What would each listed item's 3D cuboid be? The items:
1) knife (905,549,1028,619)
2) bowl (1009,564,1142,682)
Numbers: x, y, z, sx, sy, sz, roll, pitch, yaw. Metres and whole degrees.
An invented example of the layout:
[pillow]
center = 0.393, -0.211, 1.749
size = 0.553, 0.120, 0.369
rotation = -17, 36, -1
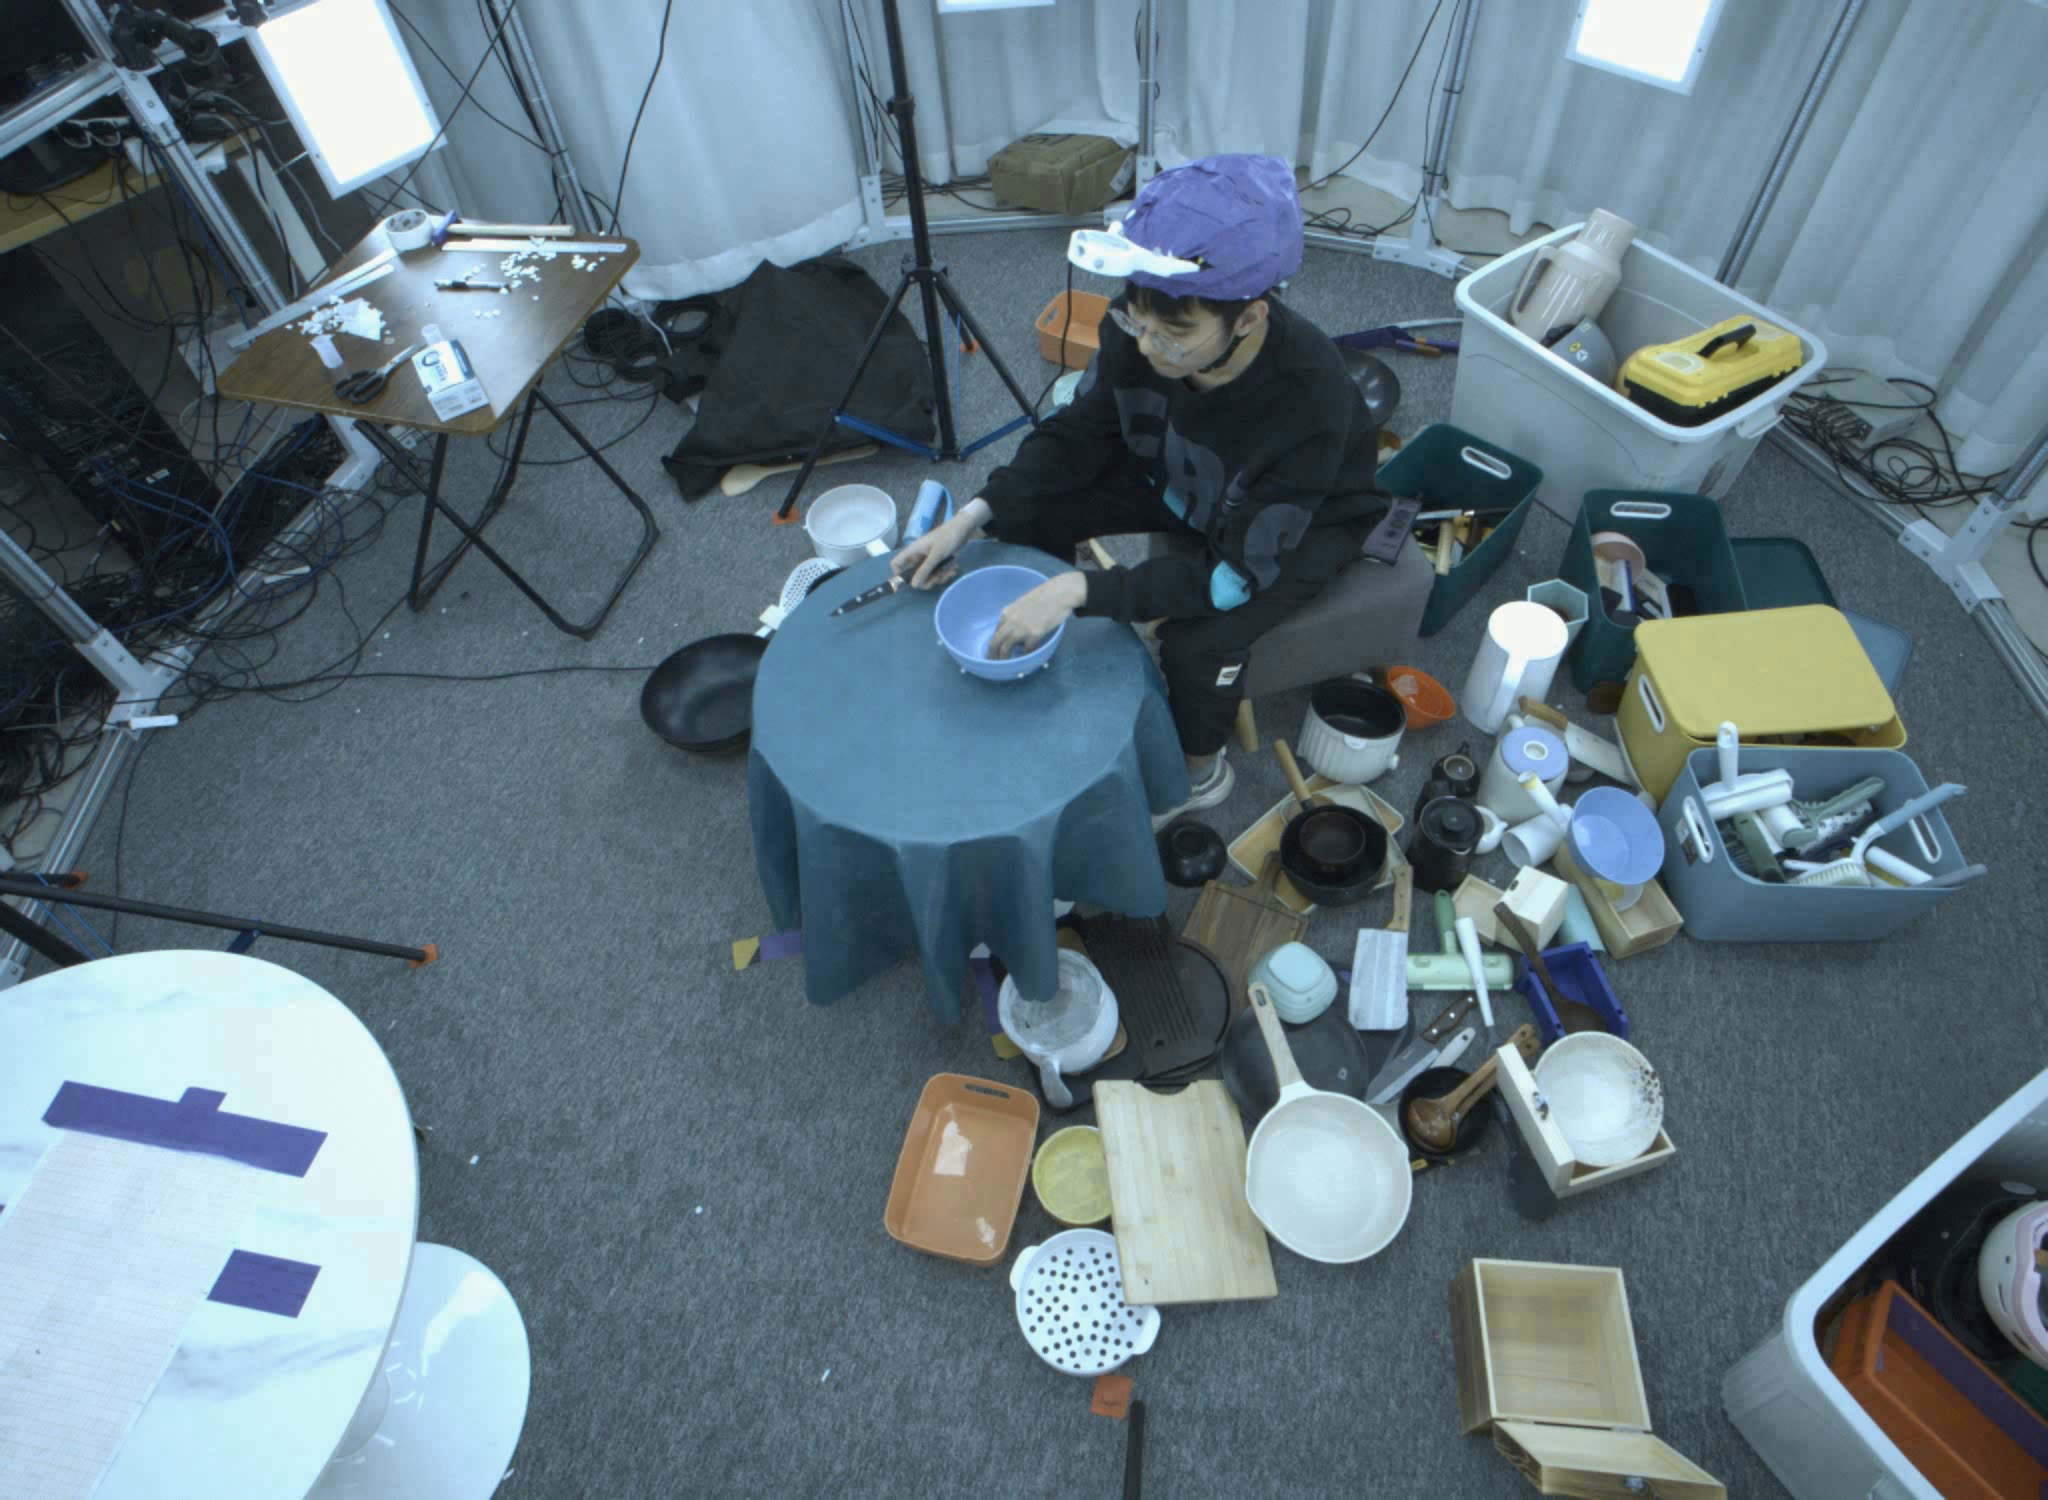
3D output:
[knife]
center = -0.092, -0.262, 1.932
size = 0.227, 0.017, 0.026
rotation = -28, 86, -14
[bowl]
center = 0.079, -0.176, 1.846
size = 0.196, 0.096, 0.194
rotation = -2, 57, 4
